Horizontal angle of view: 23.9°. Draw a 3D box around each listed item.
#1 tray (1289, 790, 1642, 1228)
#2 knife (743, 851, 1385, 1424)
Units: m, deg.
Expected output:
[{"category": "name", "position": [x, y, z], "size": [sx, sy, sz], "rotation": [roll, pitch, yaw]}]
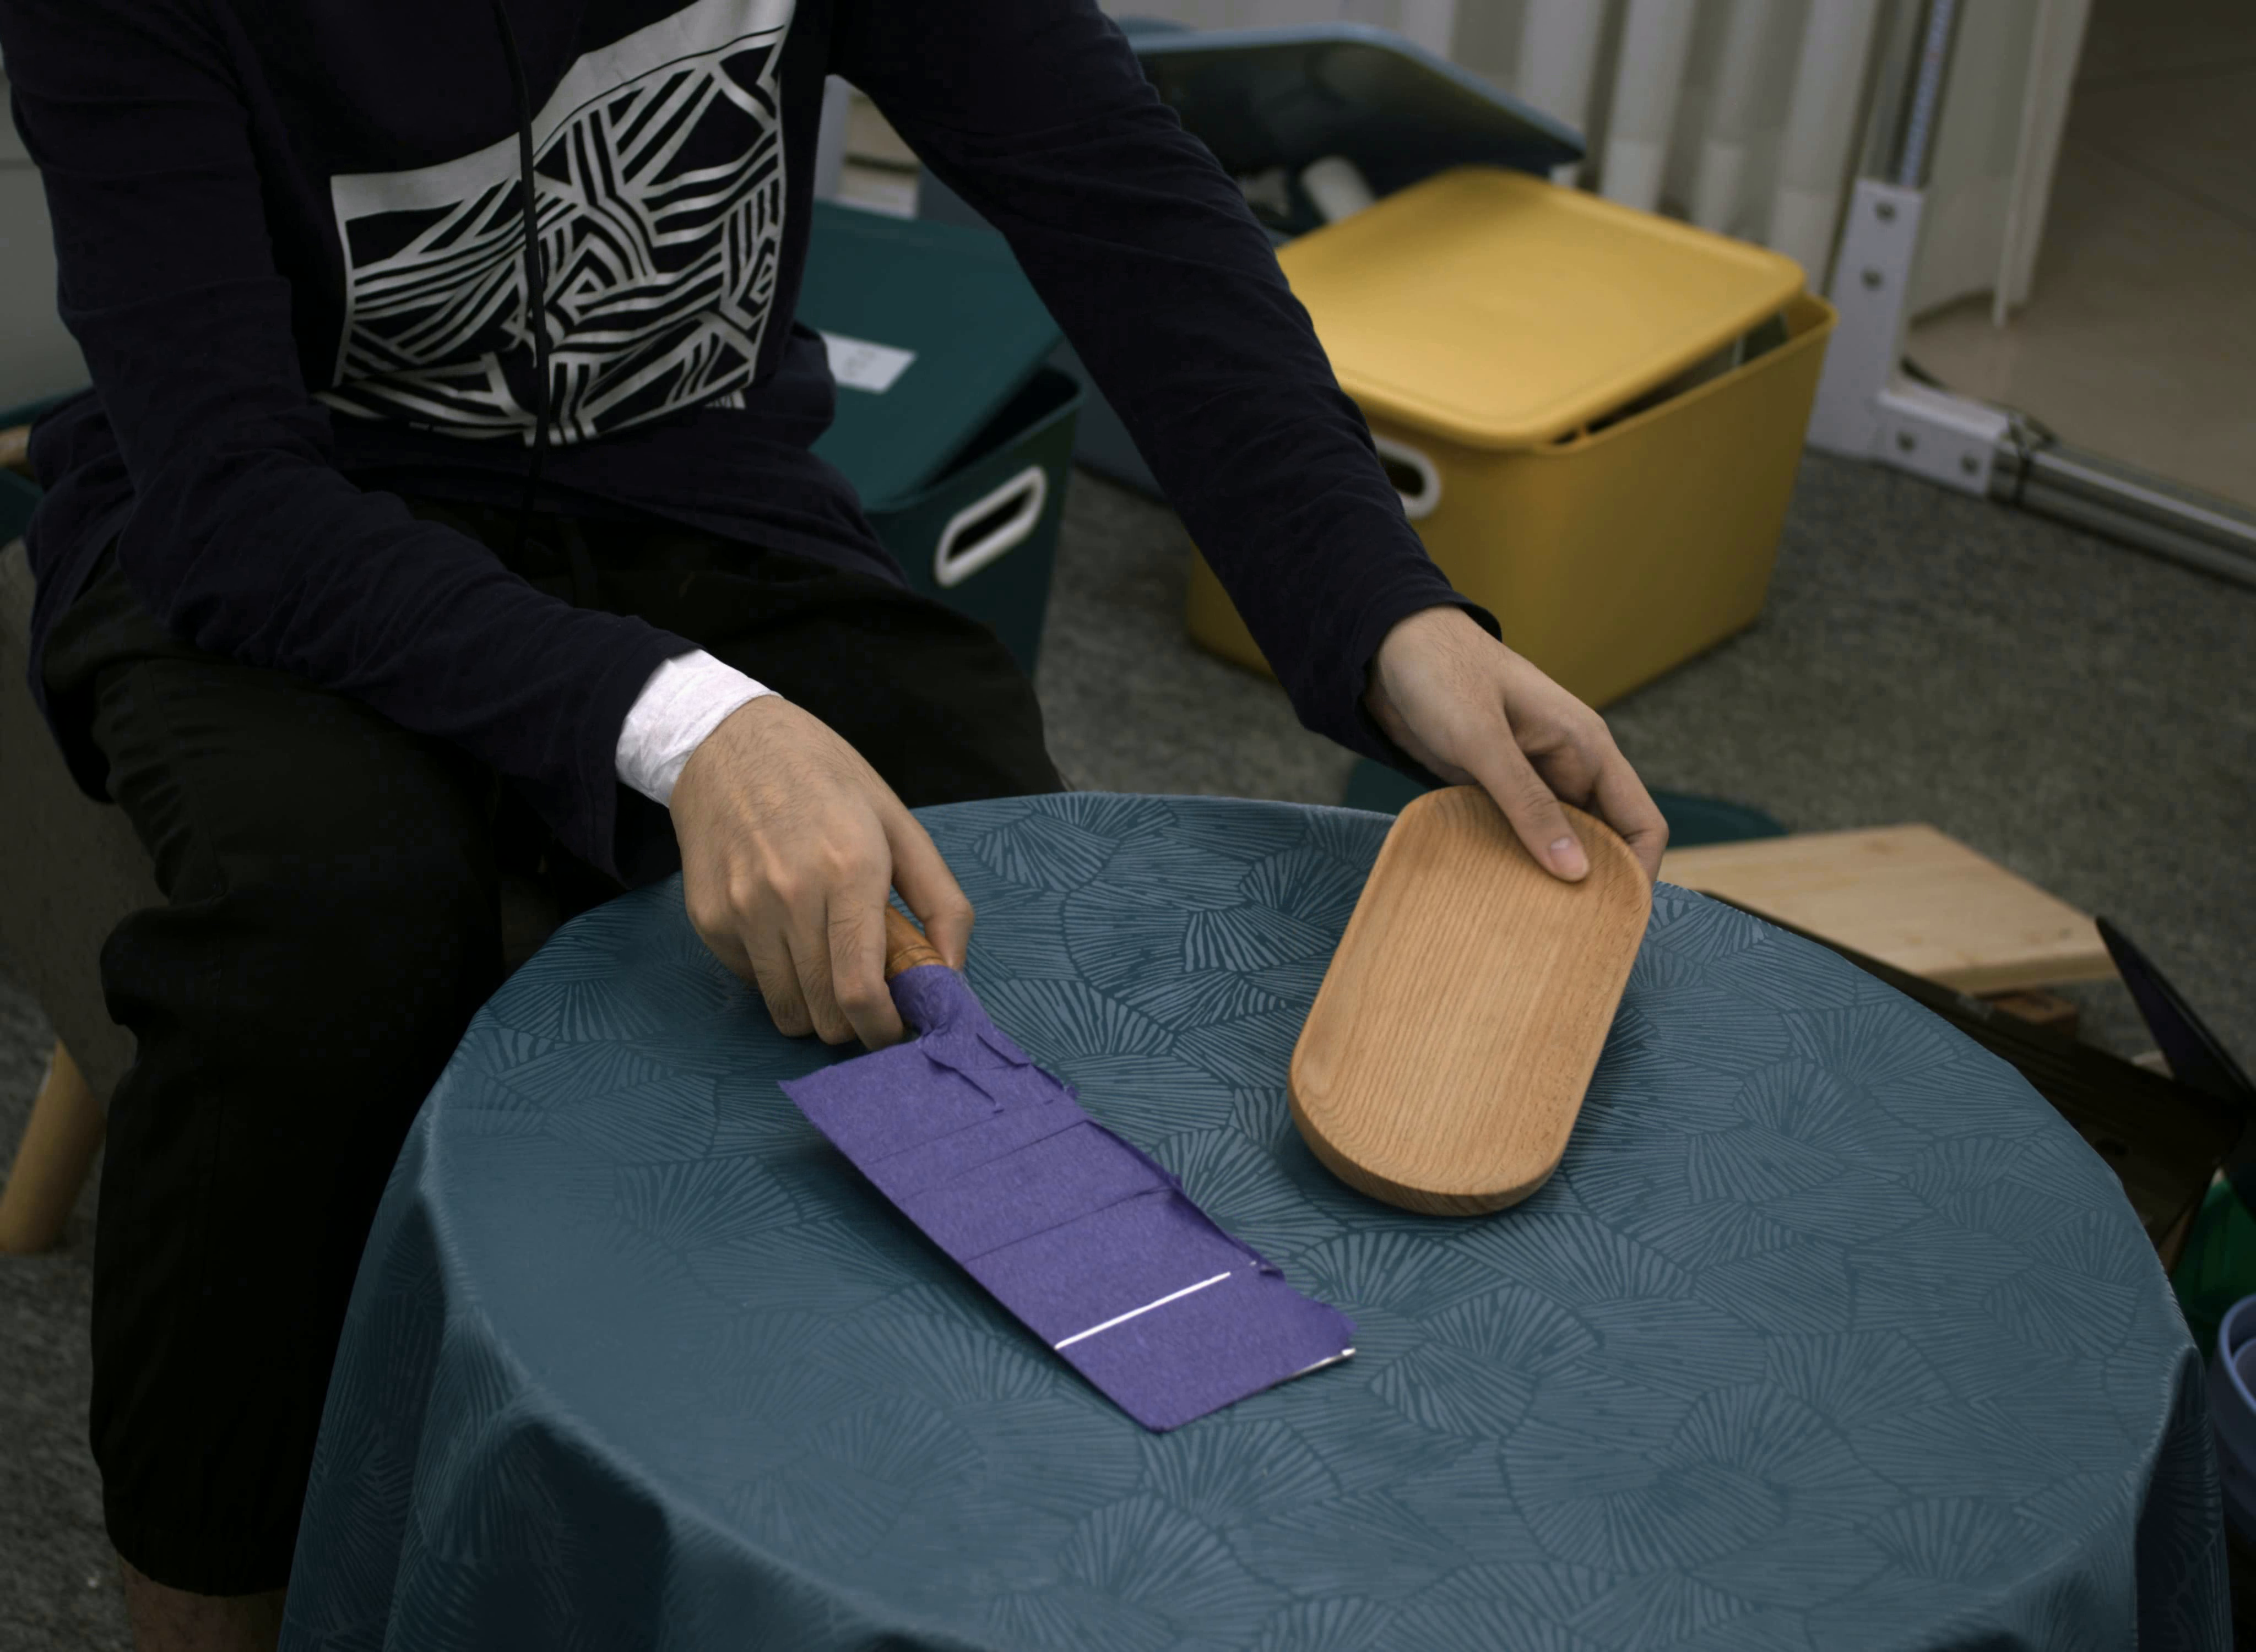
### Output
[{"category": "tray", "position": [0.121, 0.063, 1.889], "size": [0.101, 0.020, 0.232], "rotation": [19, 40, 4]}, {"category": "knife", "position": [-0.051, 0.100, 1.791], "size": [0.103, 0.032, 0.318], "rotation": [-16, 38, -37]}]
